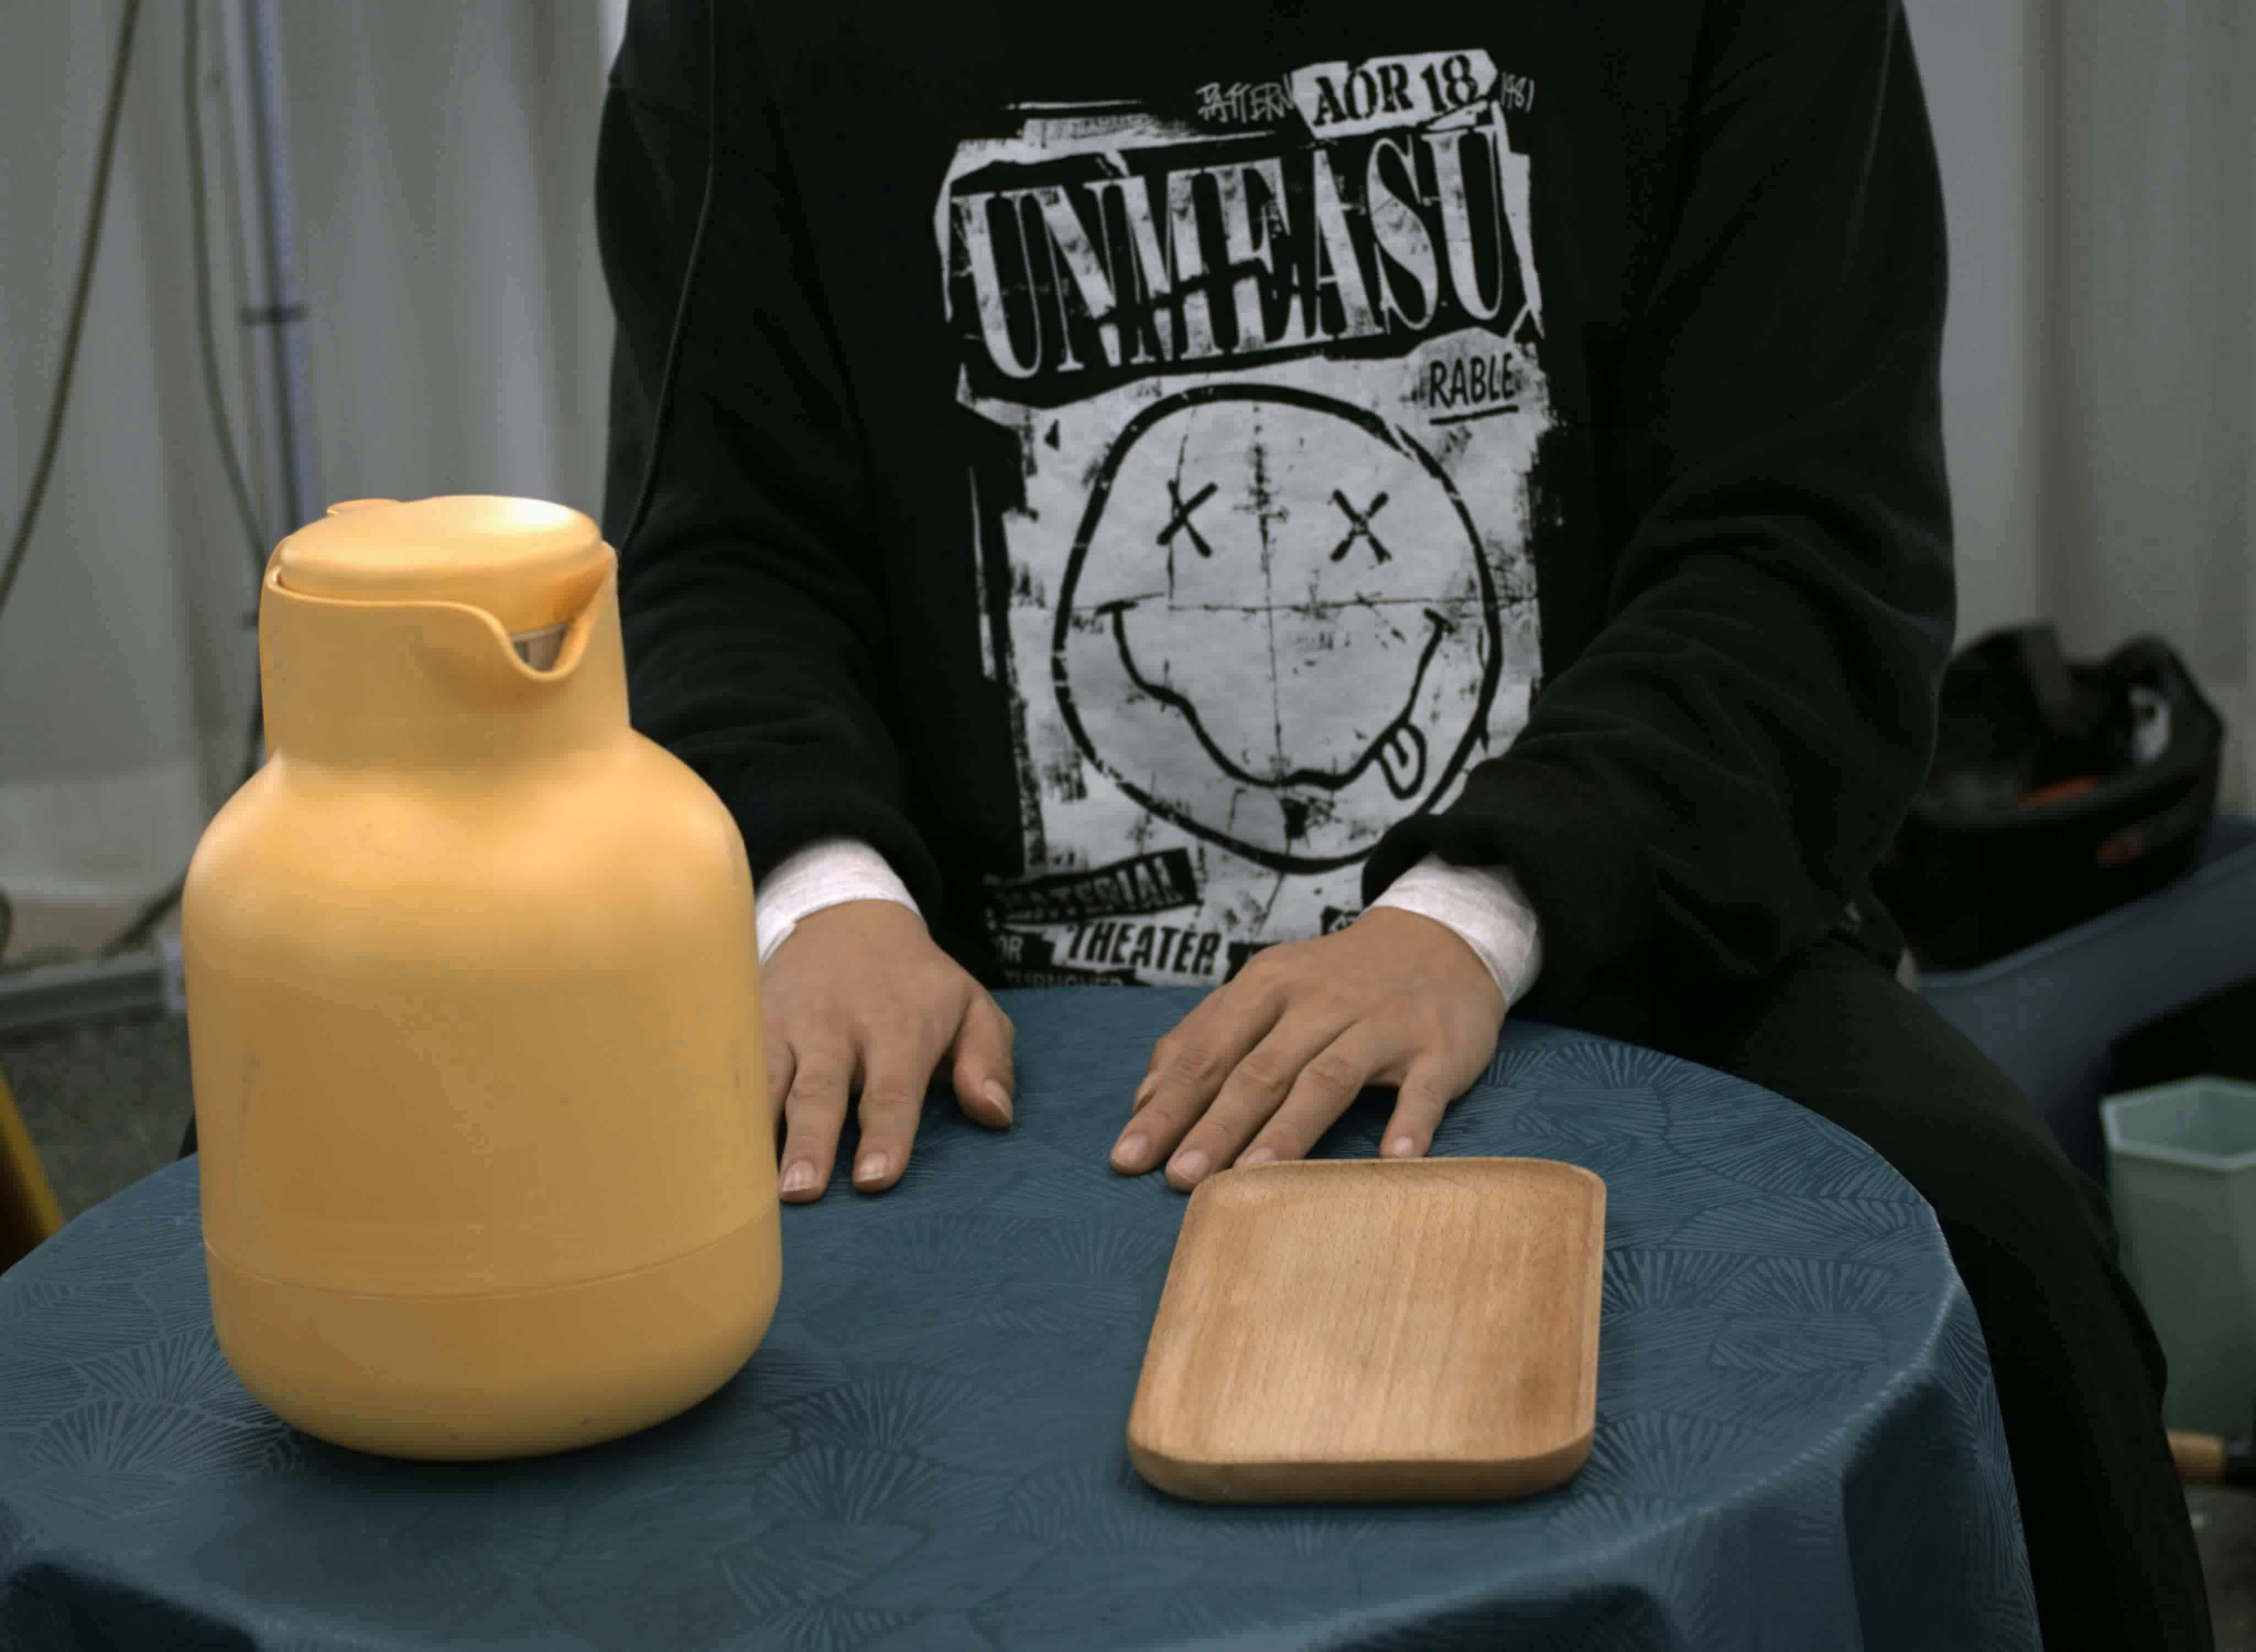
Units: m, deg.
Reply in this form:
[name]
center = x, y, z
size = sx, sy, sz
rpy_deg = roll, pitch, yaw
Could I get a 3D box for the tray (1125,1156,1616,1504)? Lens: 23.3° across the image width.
[tray]
center = 0.073, 0.142, 1.566
size = 0.130, 0.023, 0.252
rpy_deg = 1, 15, 7

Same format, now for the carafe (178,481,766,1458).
[carafe]
center = -0.193, 0.032, 1.555
size = 0.162, 0.259, 0.204
rpy_deg = -7, 16, -26
